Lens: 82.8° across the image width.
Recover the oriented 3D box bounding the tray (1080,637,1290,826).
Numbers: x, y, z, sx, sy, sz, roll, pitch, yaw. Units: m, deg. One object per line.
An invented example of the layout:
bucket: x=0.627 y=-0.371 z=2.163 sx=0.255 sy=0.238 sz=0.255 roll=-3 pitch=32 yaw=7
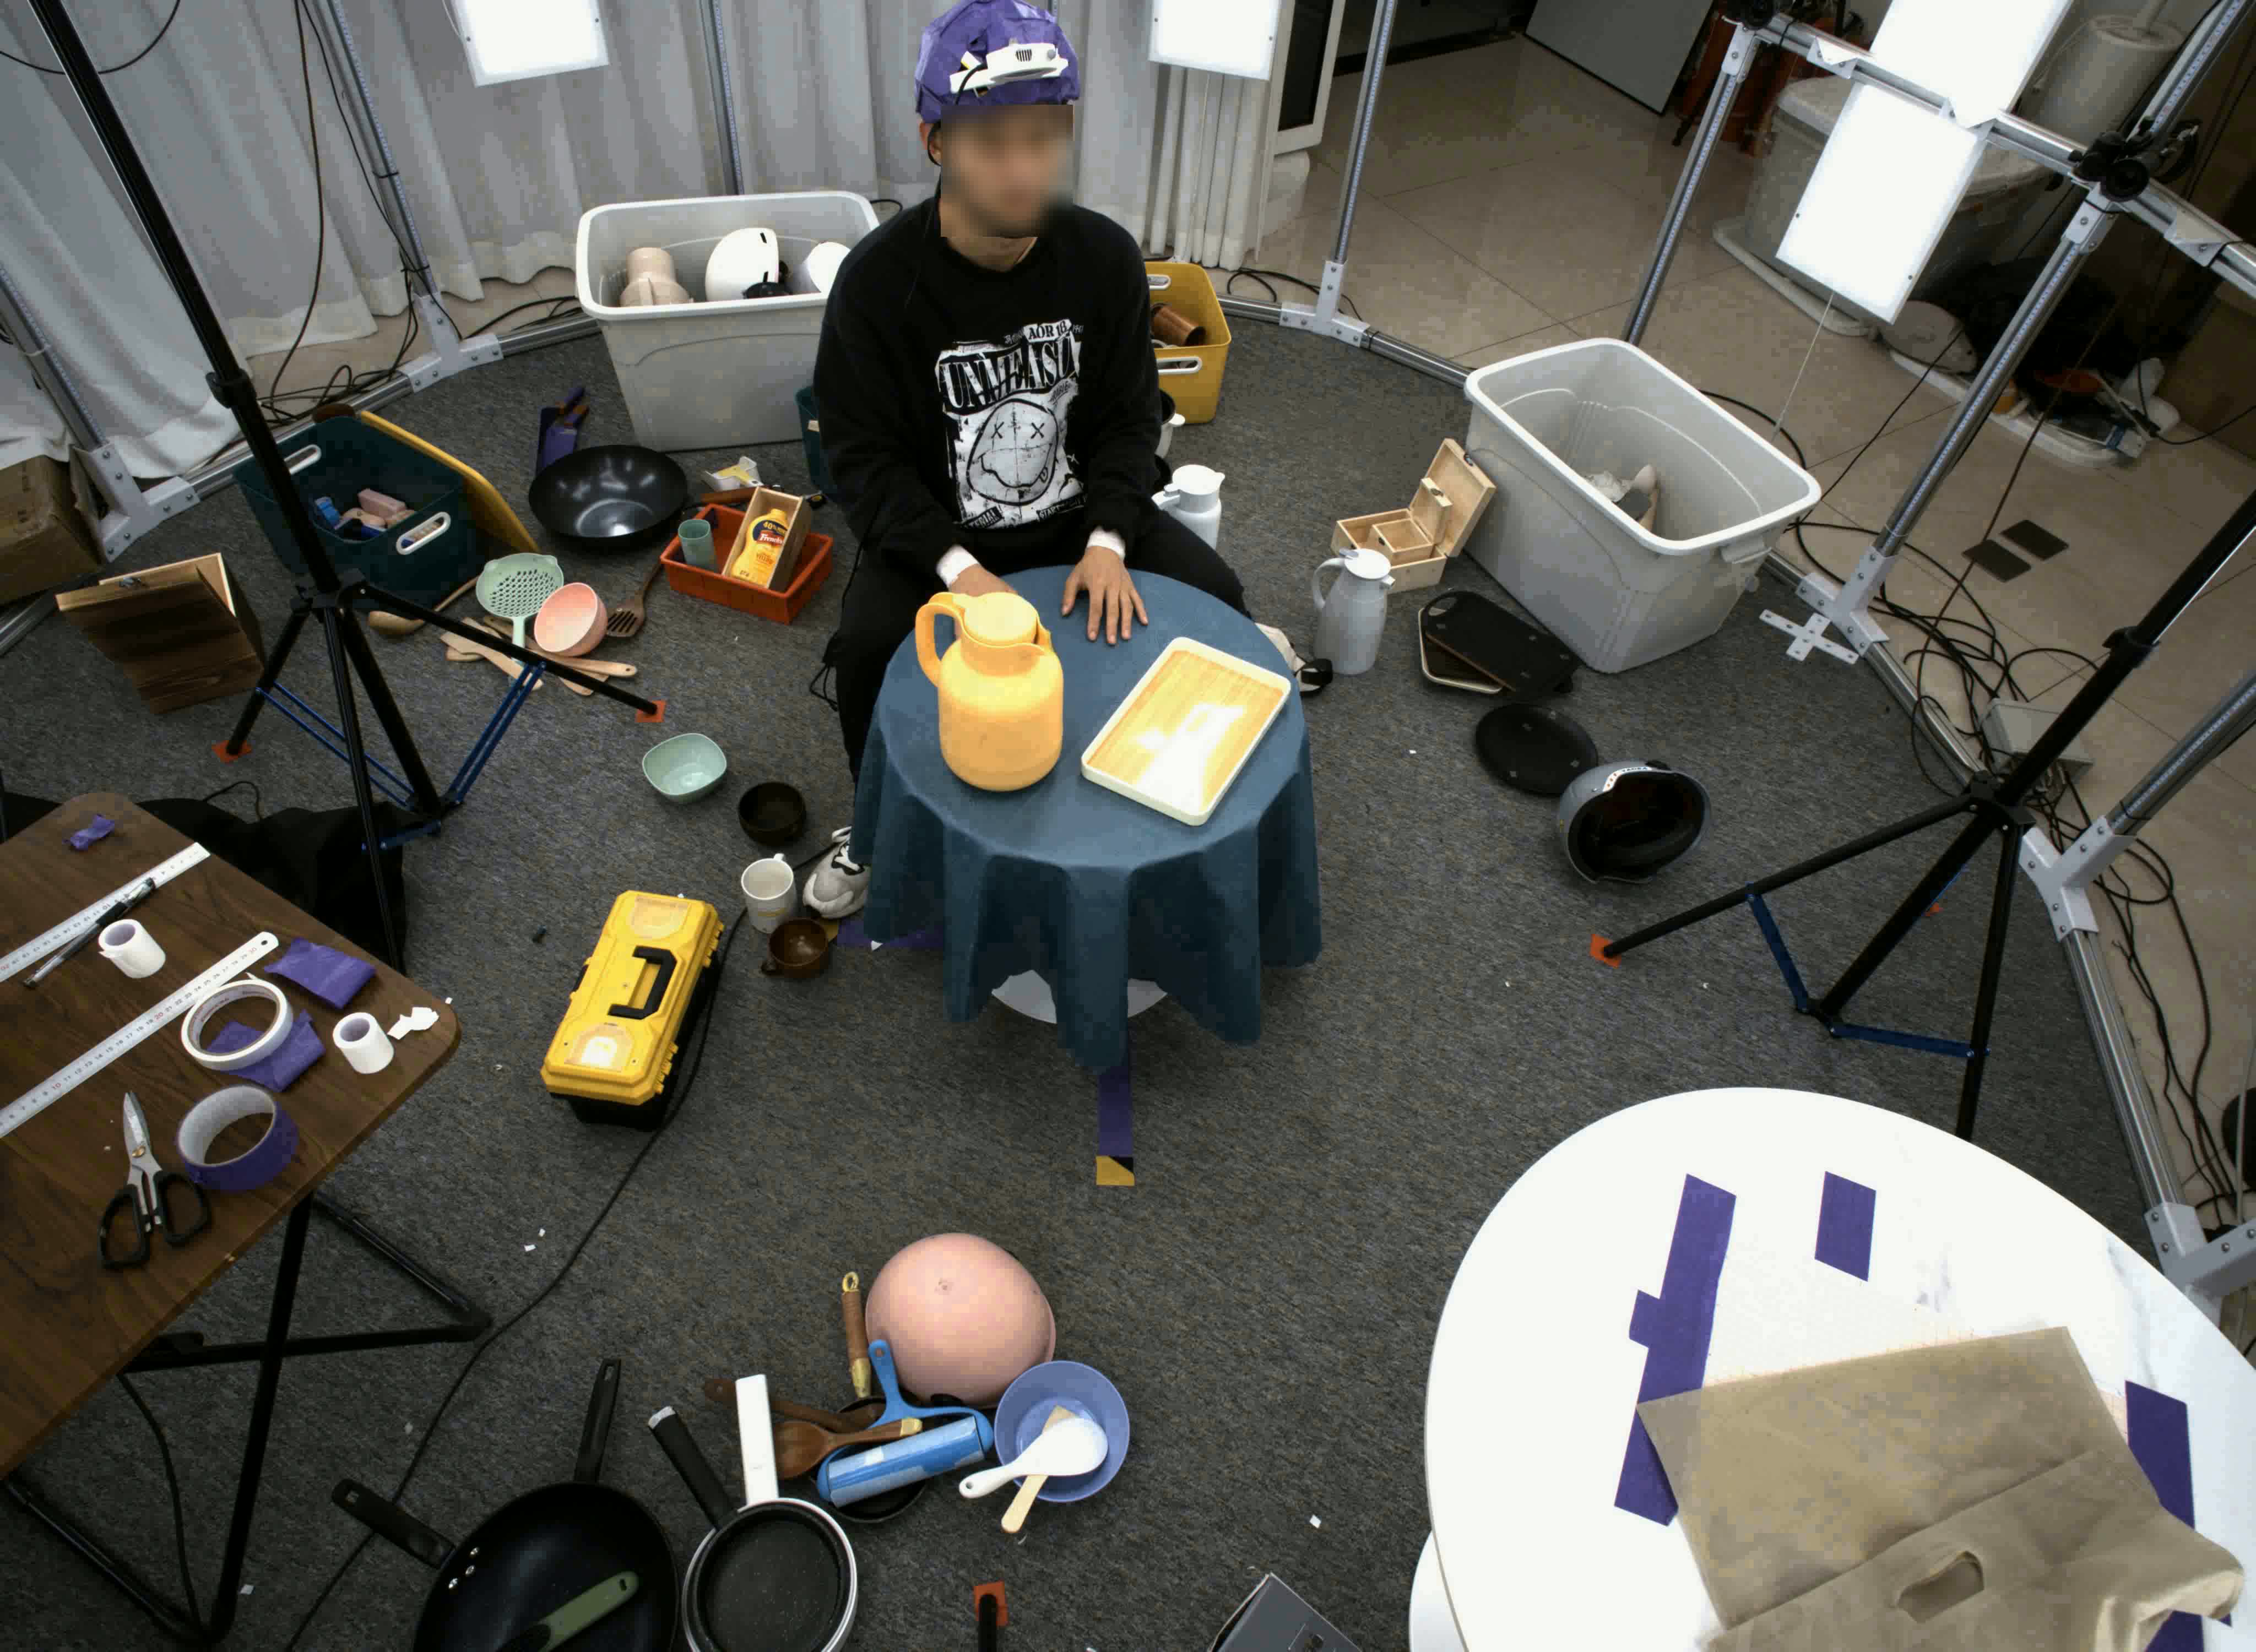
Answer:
tray: x=0.083 y=-0.138 z=1.777 sx=0.193 sy=0.027 sz=0.305 roll=24 pitch=52 yaw=16

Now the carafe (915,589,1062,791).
carafe: x=-0.182 y=-0.186 z=1.650 sx=0.204 sy=0.254 sz=0.166 roll=28 pitch=51 yaw=17
